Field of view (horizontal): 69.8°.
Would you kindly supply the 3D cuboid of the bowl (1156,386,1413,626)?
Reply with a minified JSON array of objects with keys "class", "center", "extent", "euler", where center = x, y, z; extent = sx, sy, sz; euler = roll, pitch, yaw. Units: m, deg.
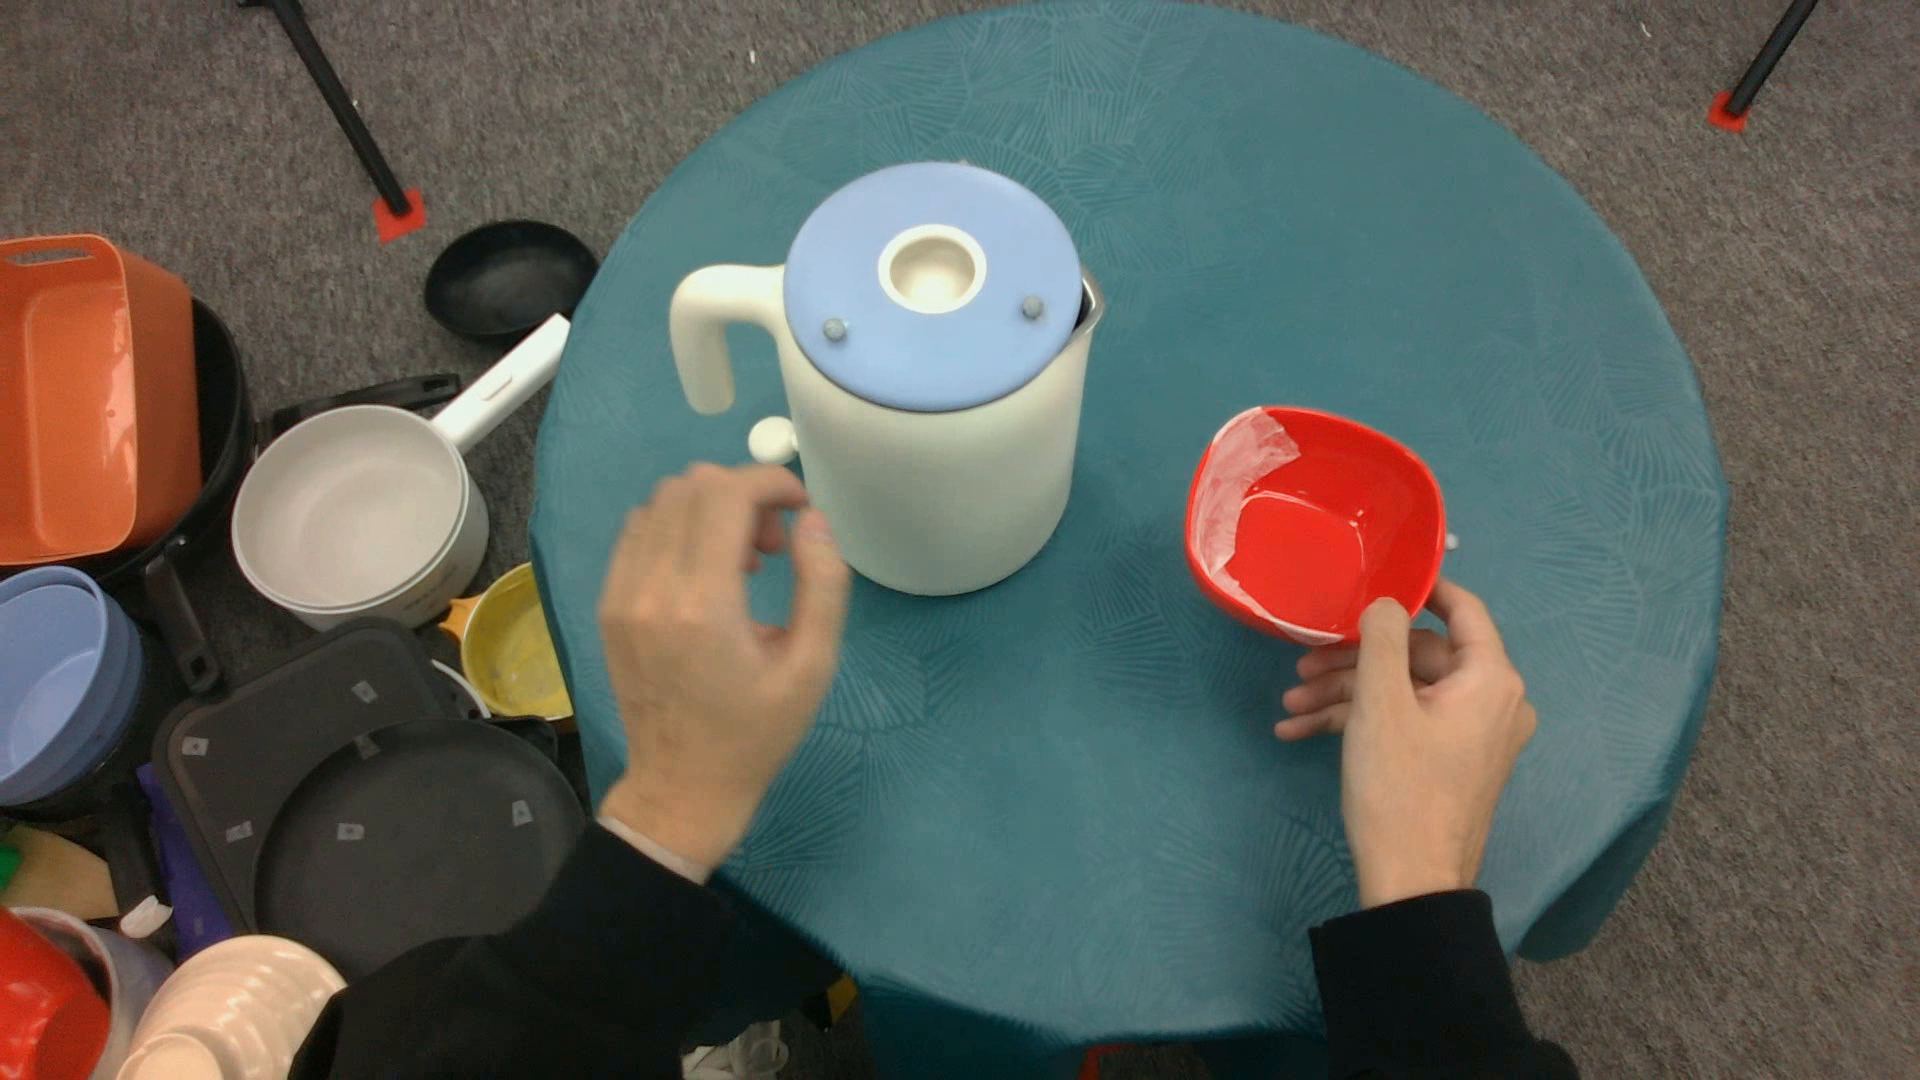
[{"class":"bowl","center":[0.138,-0.008,0.614],"extent":[0.119,0.051,0.119],"euler":[4,60,-6]}]

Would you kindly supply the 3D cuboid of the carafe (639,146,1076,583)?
[{"class":"carafe","center":[-0.047,-0.075,0.617],"extent":[0.191,0.182,0.133],"euler":[5,63,4]}]
